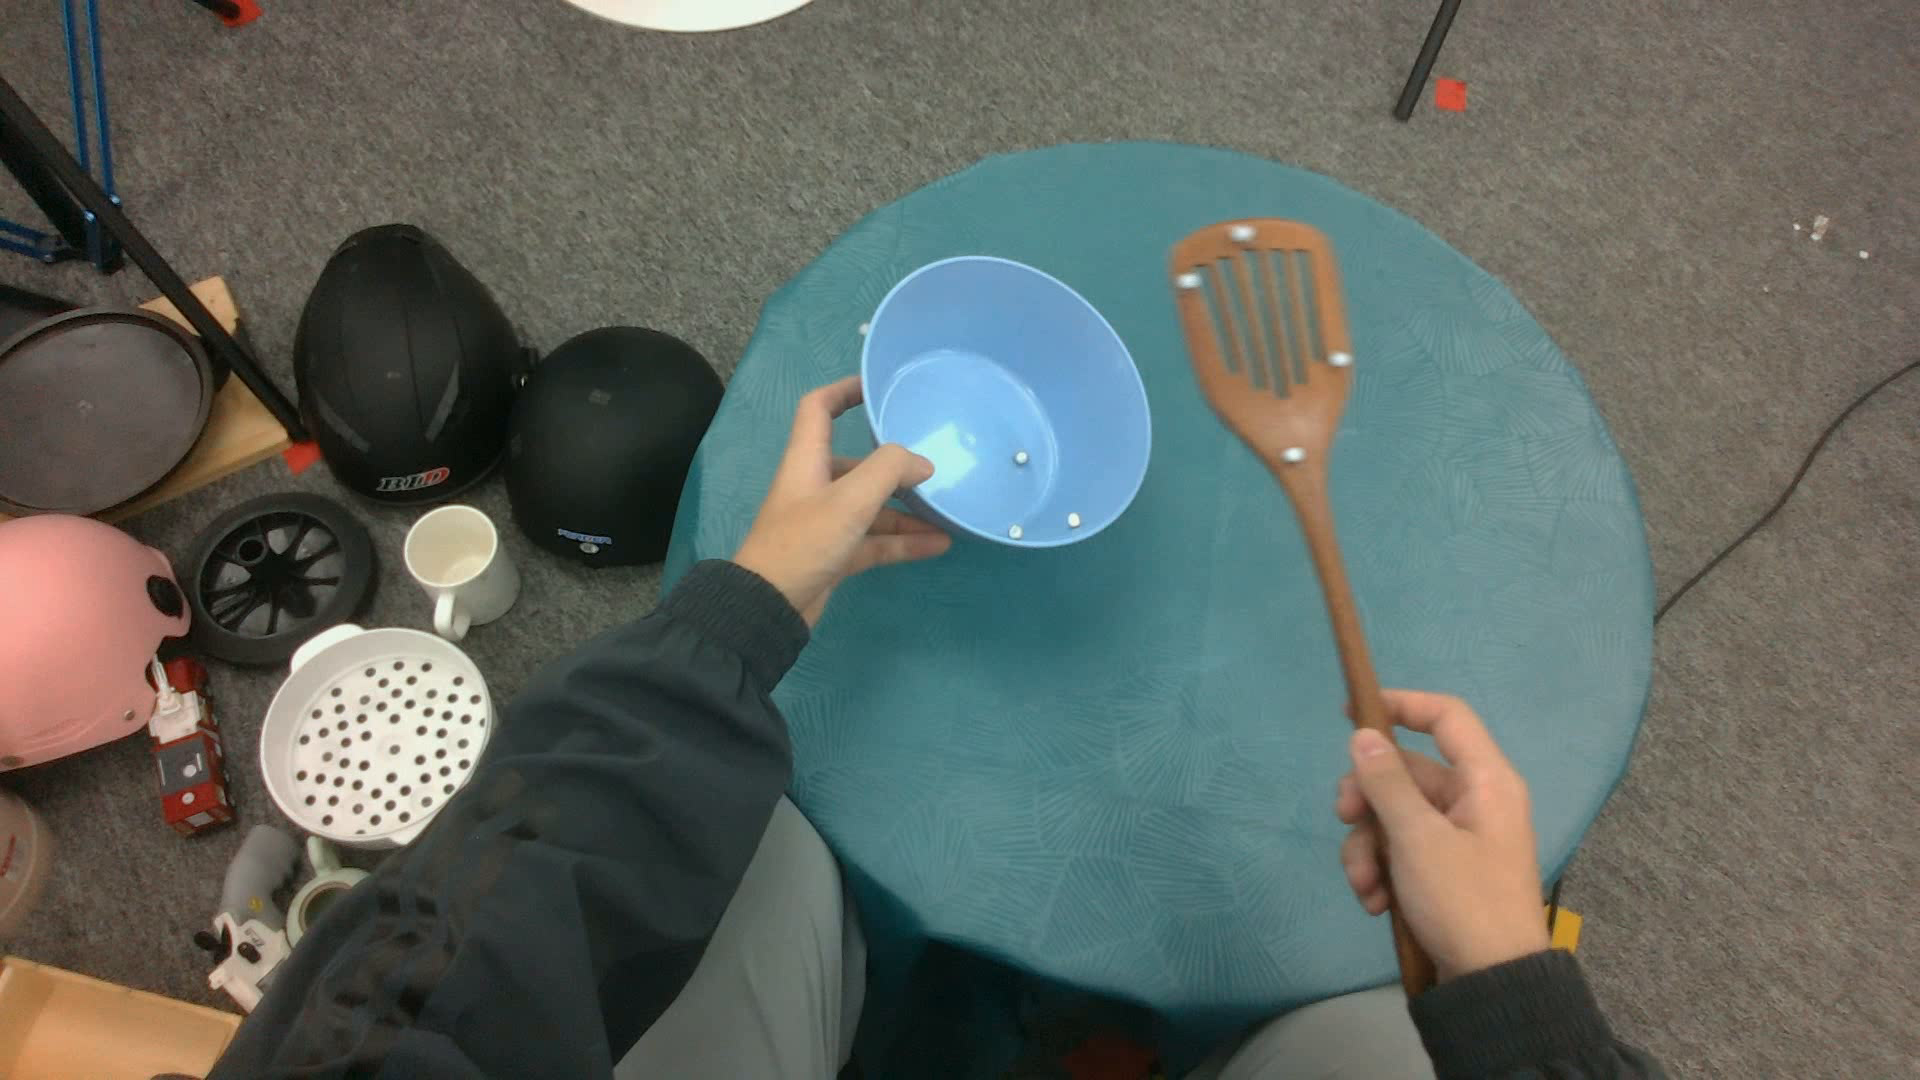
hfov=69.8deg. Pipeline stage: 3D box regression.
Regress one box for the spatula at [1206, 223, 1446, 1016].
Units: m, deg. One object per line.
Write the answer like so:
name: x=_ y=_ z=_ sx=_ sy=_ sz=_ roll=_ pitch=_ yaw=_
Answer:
spatula: x=0.186 y=0.028 z=0.666 sx=0.085 sy=0.024 sz=0.387 roll=-6 pitch=76 yaw=-6

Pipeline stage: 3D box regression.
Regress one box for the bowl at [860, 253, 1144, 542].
bowl: x=0.014 y=-0.072 z=0.793 sx=0.176 sy=0.070 sz=0.176 roll=9 pitch=67 yaw=-22
